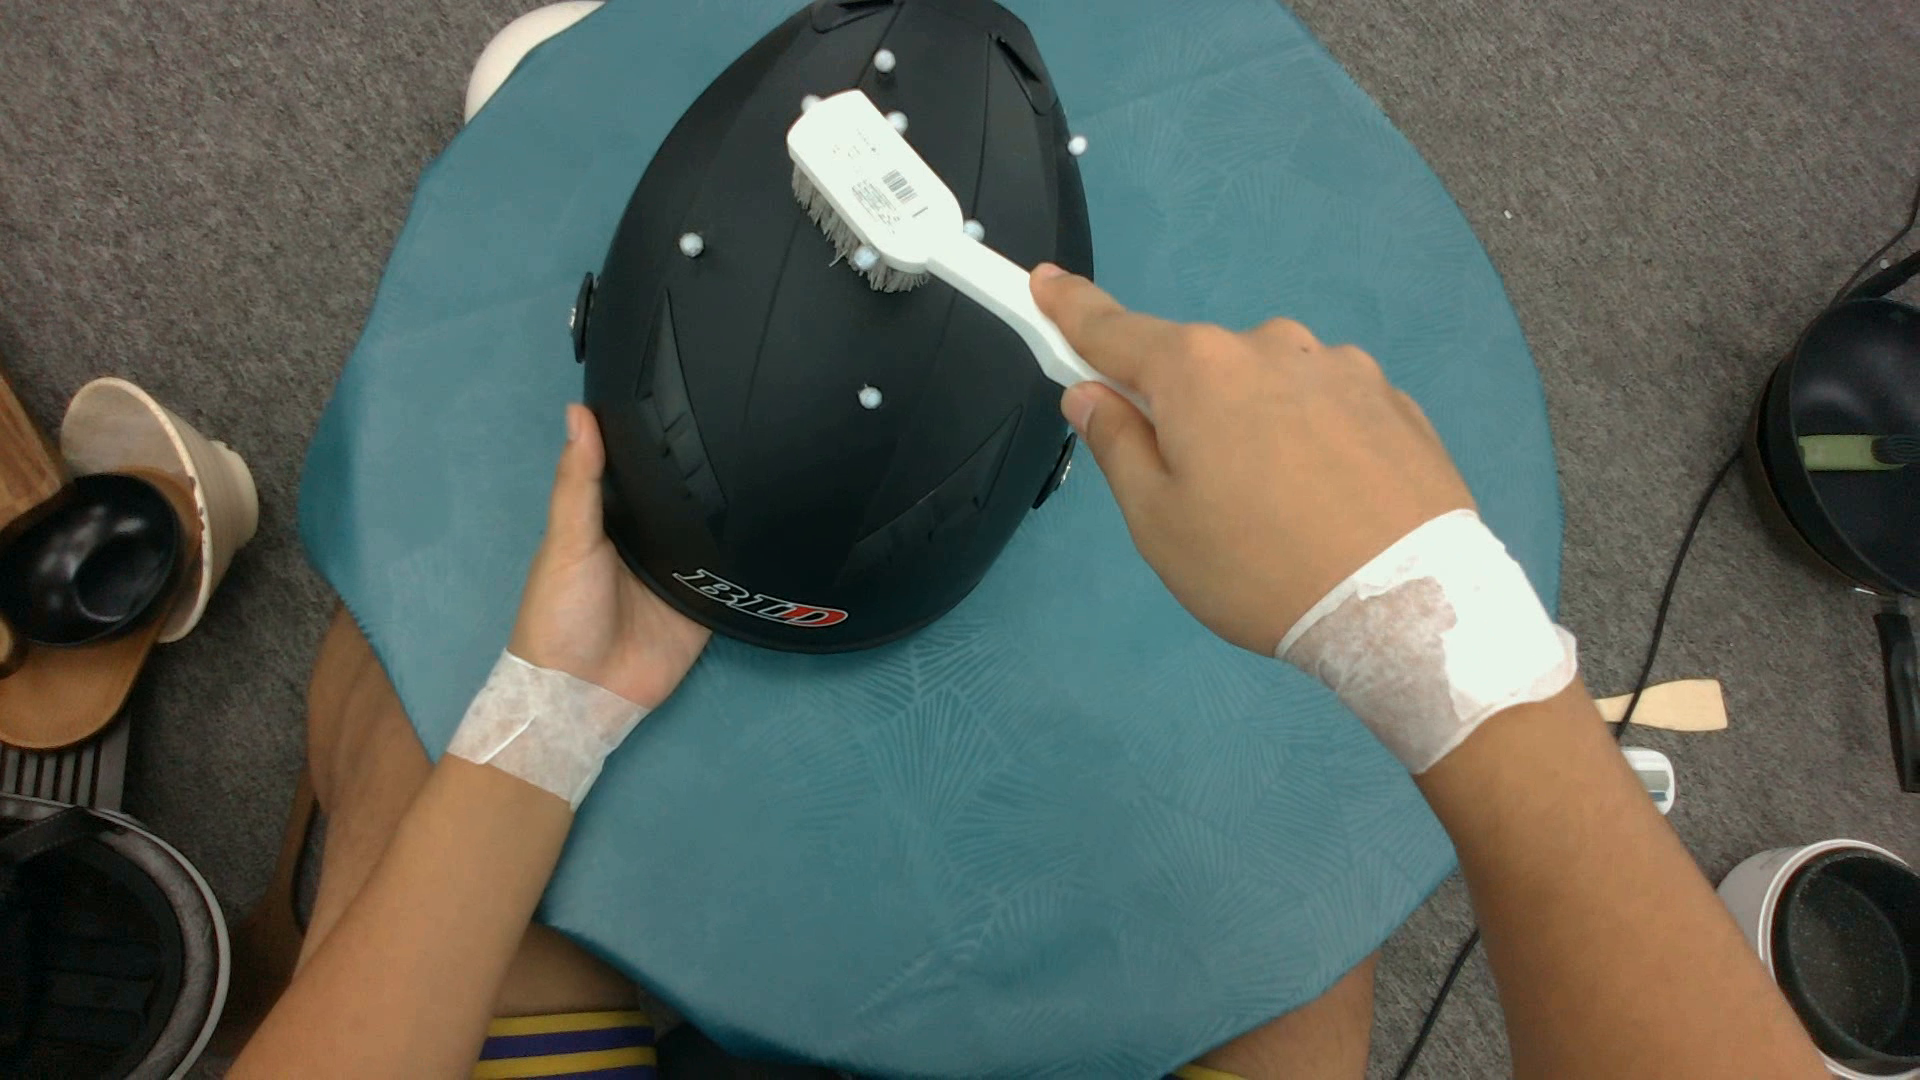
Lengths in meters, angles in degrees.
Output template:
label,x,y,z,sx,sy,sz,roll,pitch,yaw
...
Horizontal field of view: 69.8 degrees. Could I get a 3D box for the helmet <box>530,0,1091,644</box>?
label,x,y,z,sx,sy,sz,roll,pitch,yaw
helmet,-0.054,-0.107,0.586,0.247,0.172,0.277,19,68,-8

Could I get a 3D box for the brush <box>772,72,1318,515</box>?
label,x,y,z,sx,sy,sz,roll,pitch,yaw
brush,0.018,-0.076,0.446,0.034,0.050,0.244,-38,62,-16
